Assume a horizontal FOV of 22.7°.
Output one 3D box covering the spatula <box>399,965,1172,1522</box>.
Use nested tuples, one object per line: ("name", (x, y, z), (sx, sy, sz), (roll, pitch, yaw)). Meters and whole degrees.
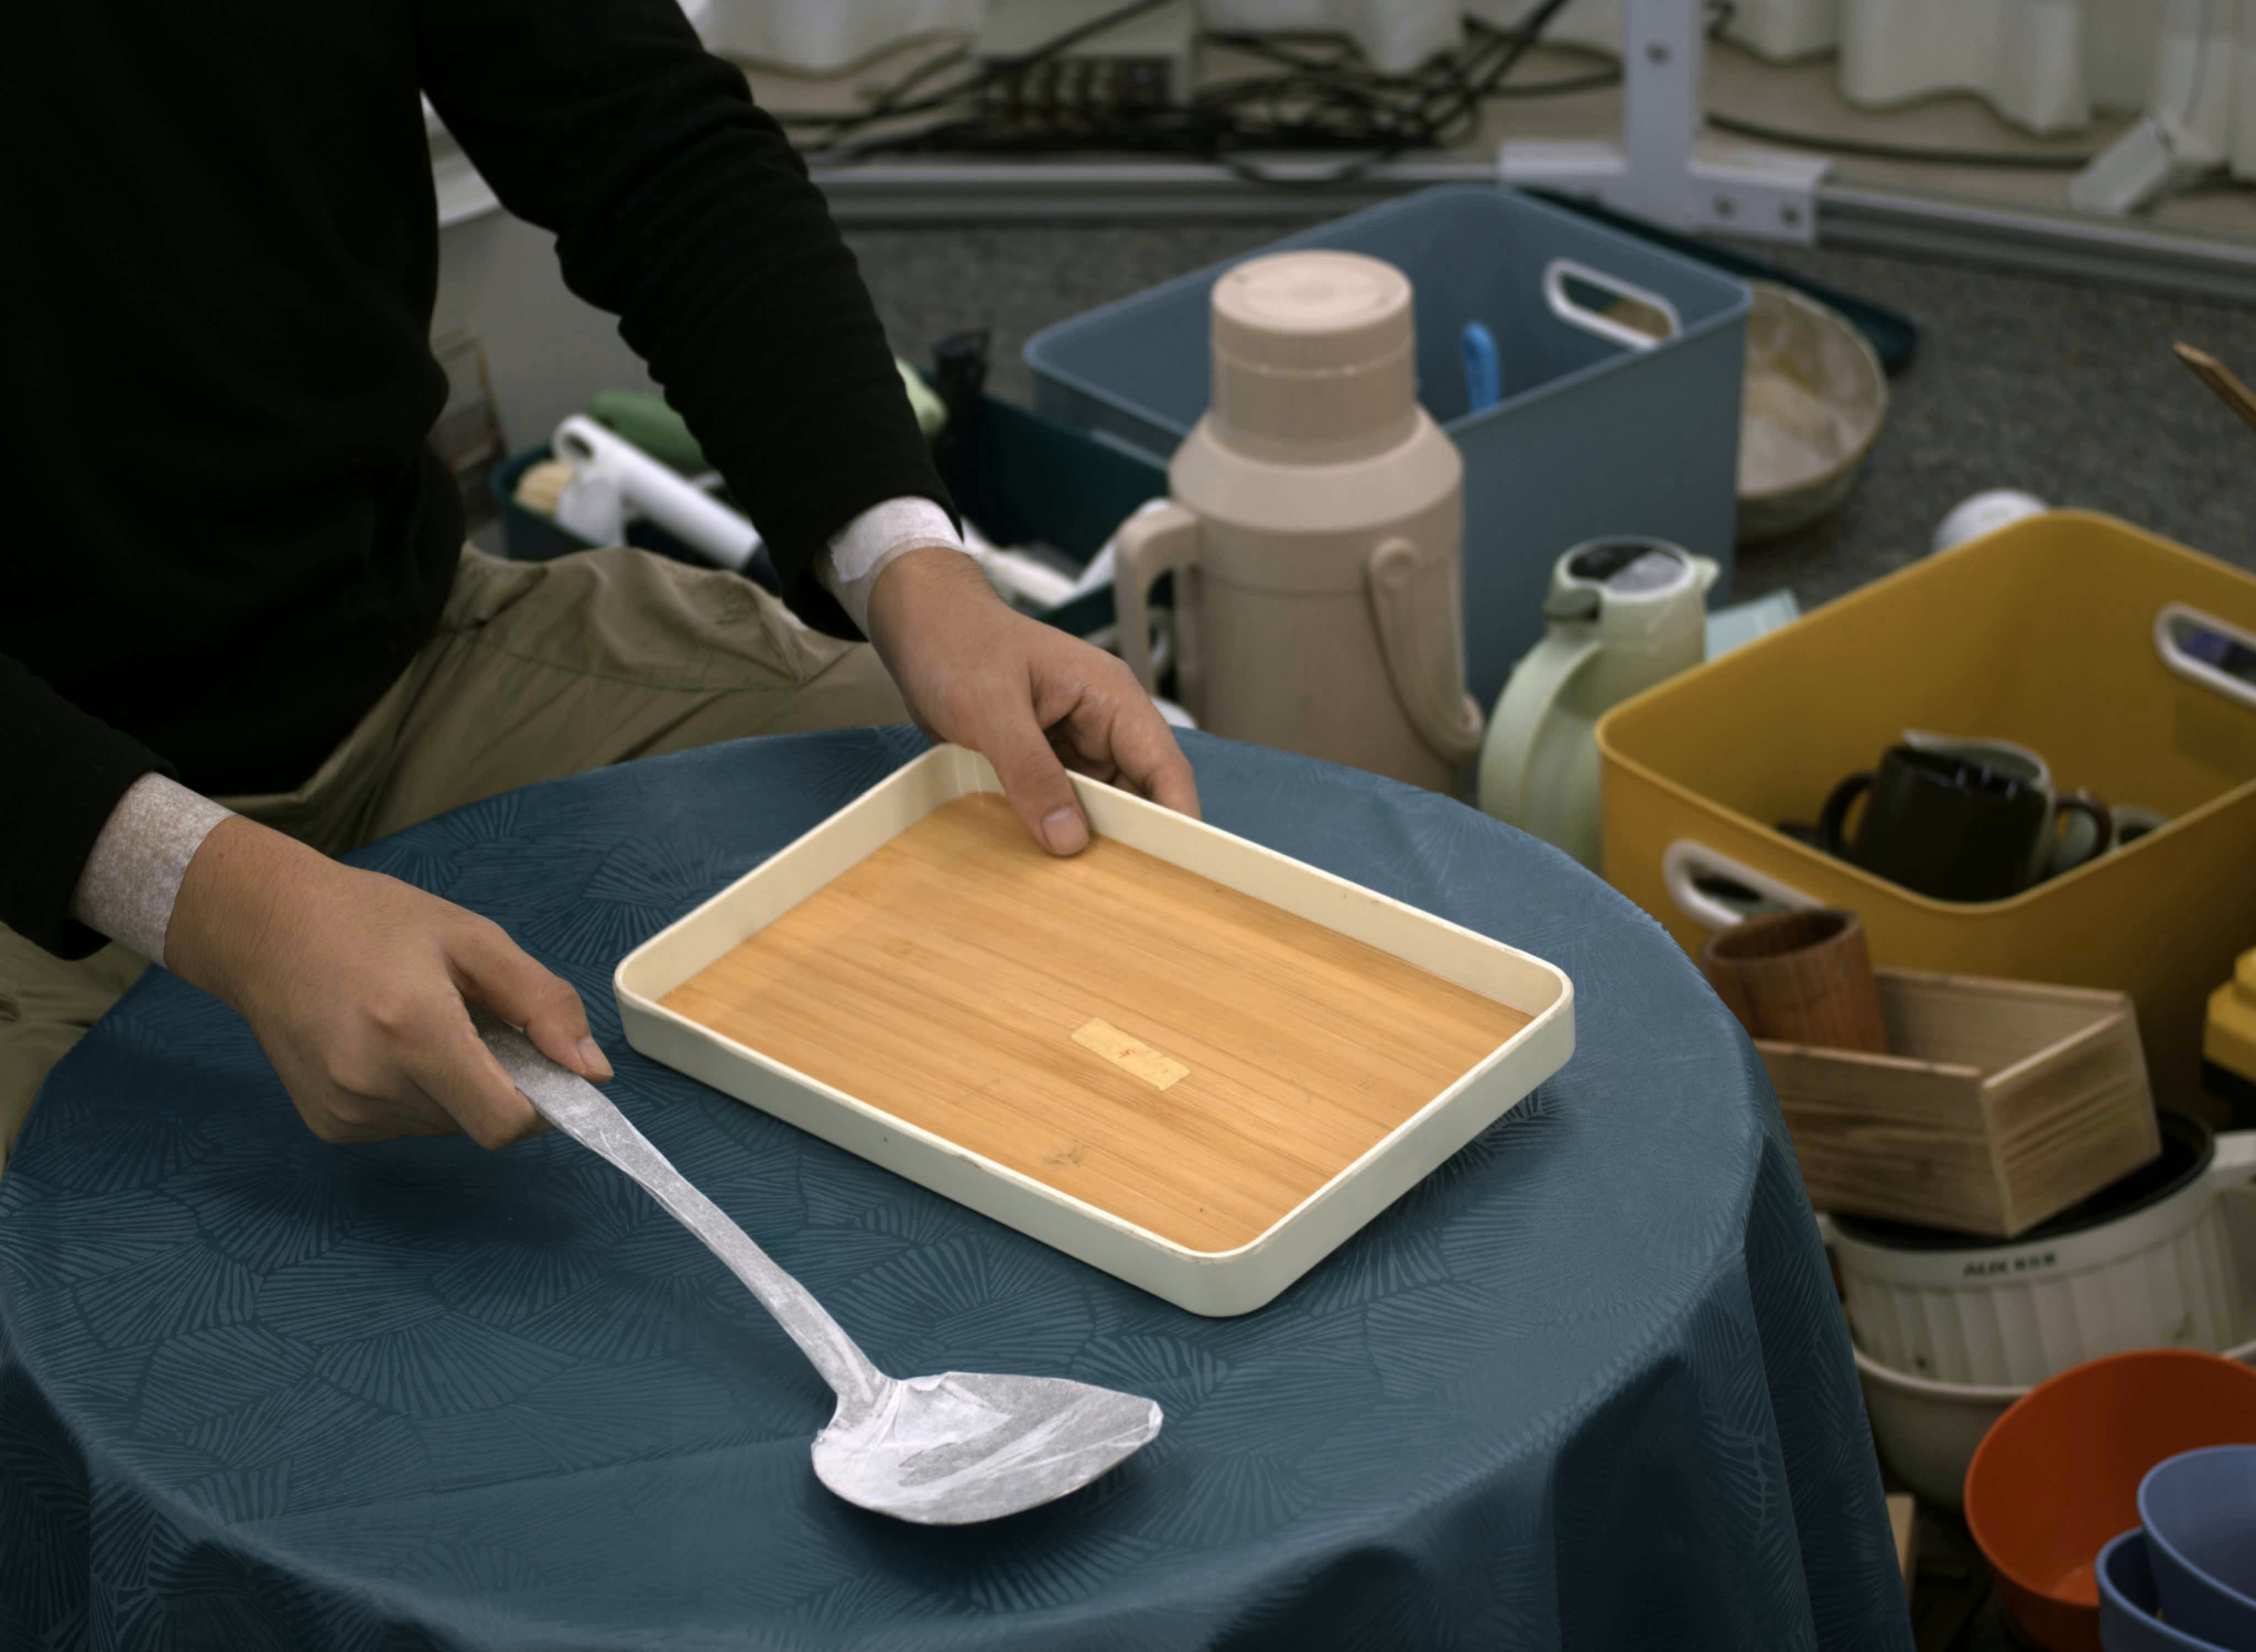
("spatula", (-0.131, 0.123, 1.788), (0.100, 0.044, 0.366), (-22, 44, -35))

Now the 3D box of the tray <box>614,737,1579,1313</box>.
("tray", (-0.013, 0.062, 1.922), (0.300, 0.027, 0.194), (22, 43, 38))
